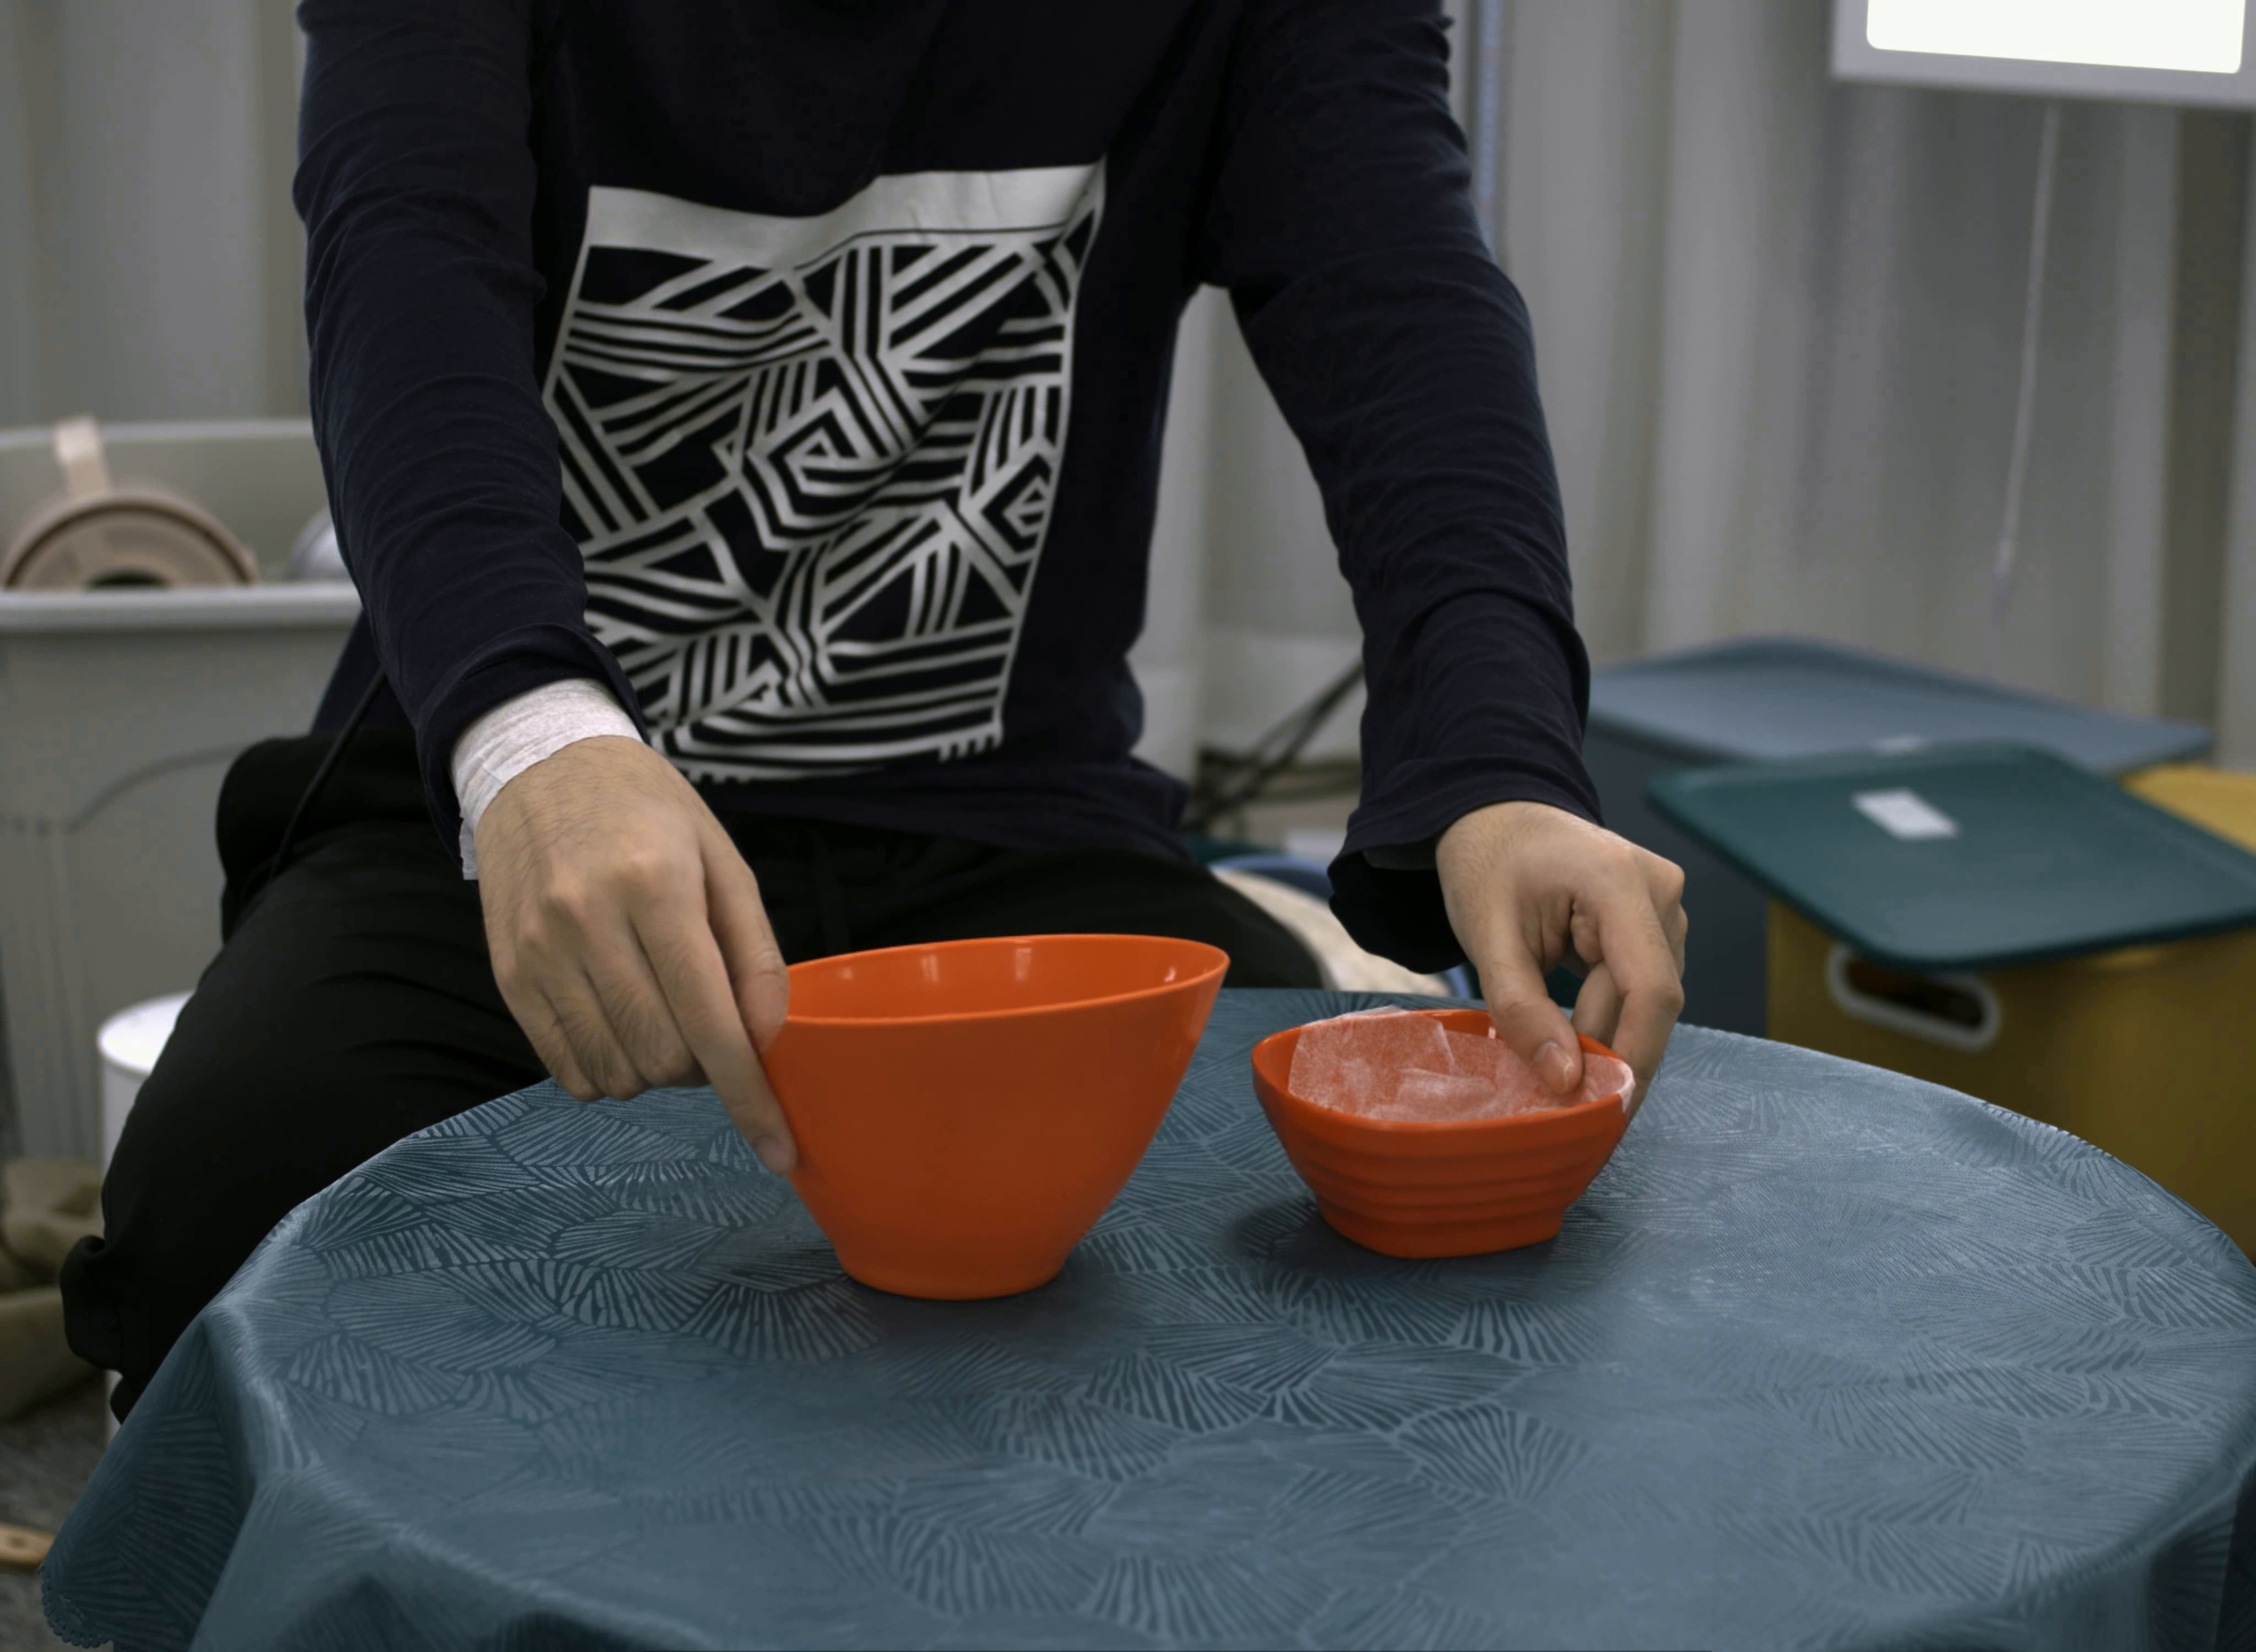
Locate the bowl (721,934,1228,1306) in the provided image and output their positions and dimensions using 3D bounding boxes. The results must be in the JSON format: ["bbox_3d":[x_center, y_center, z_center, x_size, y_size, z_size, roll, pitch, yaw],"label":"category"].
[{"bbox_3d":[-0.045,0.084,1.536,0.147,0.105,0.147,1,15,0],"label":"bowl"}]

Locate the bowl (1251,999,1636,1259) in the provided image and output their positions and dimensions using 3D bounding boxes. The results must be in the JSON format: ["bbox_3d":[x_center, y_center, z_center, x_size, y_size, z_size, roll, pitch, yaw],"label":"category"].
[{"bbox_3d":[0.095,0.094,1.595,0.118,0.052,0.118,0,17,0],"label":"bowl"}]
